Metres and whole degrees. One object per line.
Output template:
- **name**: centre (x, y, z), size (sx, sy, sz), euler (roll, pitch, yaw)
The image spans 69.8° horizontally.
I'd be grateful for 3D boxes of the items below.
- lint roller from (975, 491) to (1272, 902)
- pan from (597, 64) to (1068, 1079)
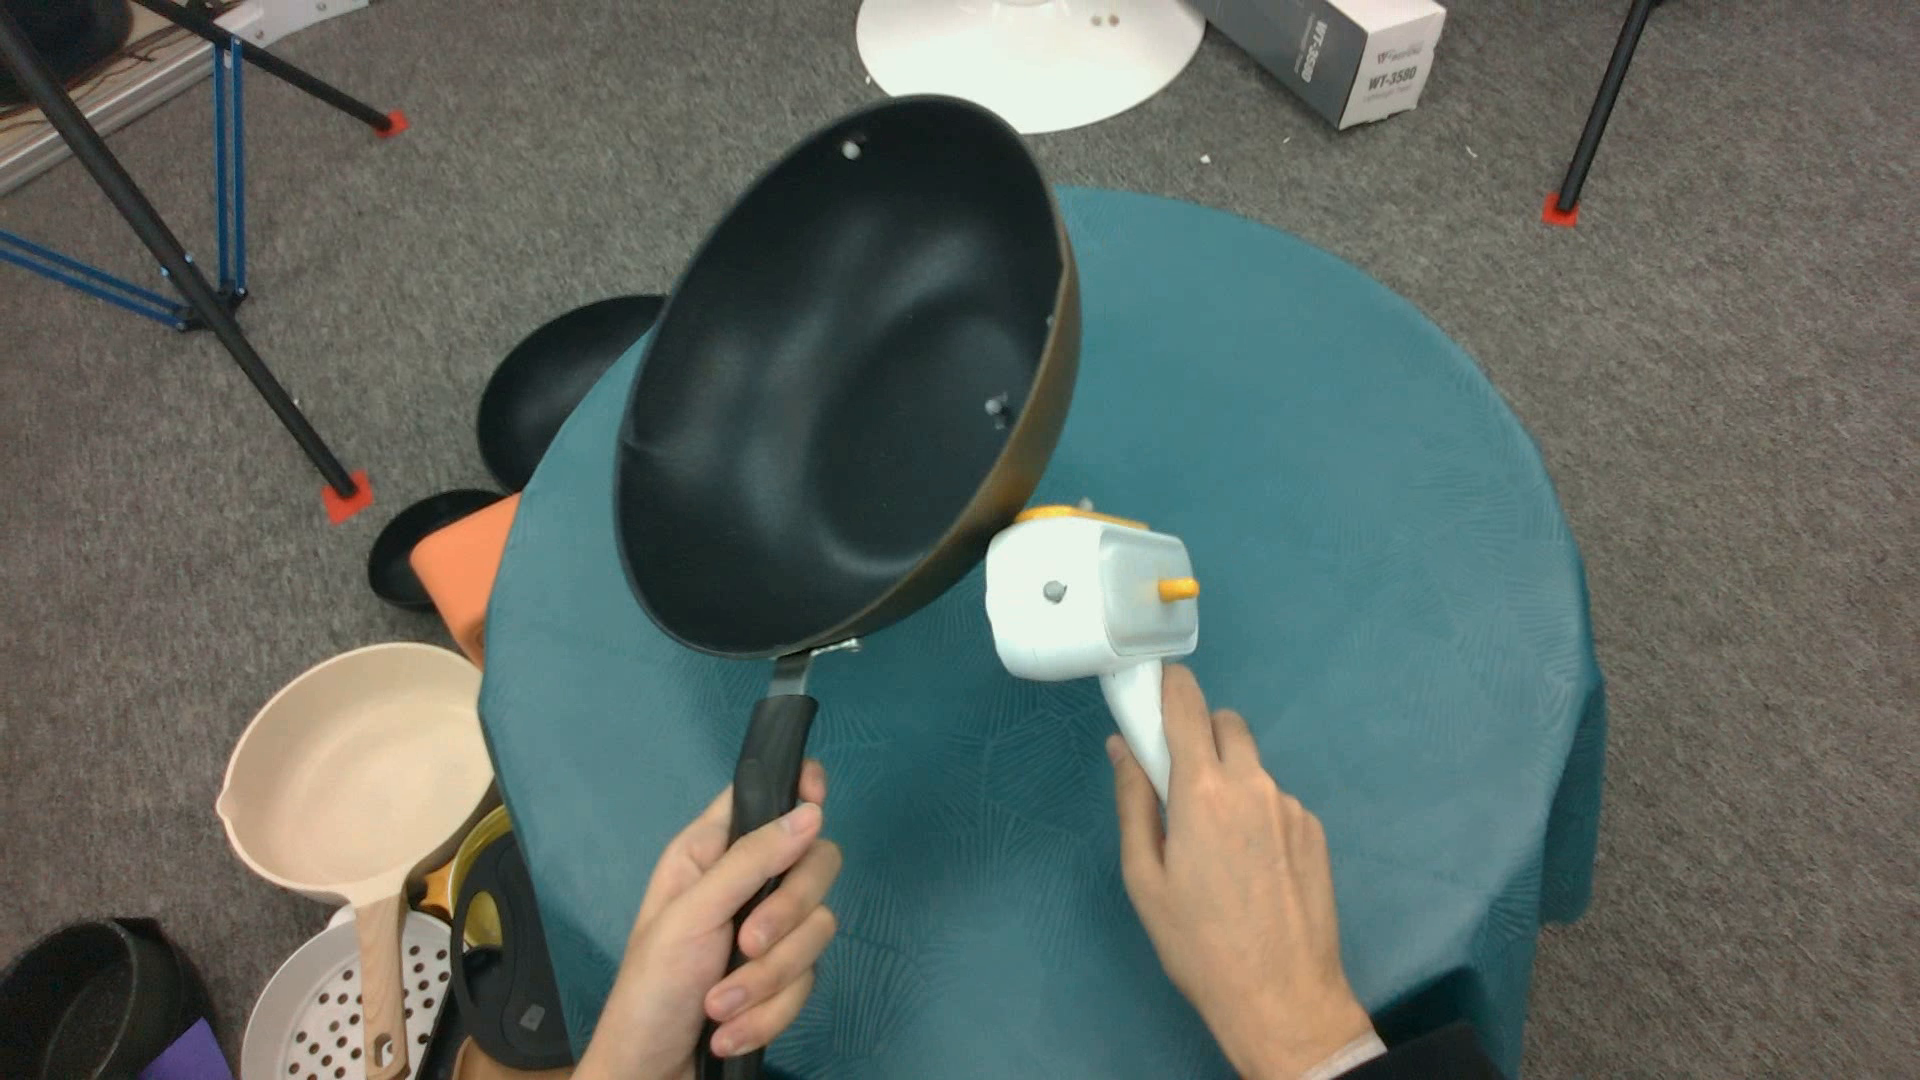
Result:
- **lint roller**: centre (0.080, 0.069, 0.604), size (0.074, 0.193, 0.192), euler (-18, 85, 15)
- **pan**: centre (-0.058, 0.007, 0.623), size (0.287, 0.087, 0.465), euler (-13, 64, 37)
